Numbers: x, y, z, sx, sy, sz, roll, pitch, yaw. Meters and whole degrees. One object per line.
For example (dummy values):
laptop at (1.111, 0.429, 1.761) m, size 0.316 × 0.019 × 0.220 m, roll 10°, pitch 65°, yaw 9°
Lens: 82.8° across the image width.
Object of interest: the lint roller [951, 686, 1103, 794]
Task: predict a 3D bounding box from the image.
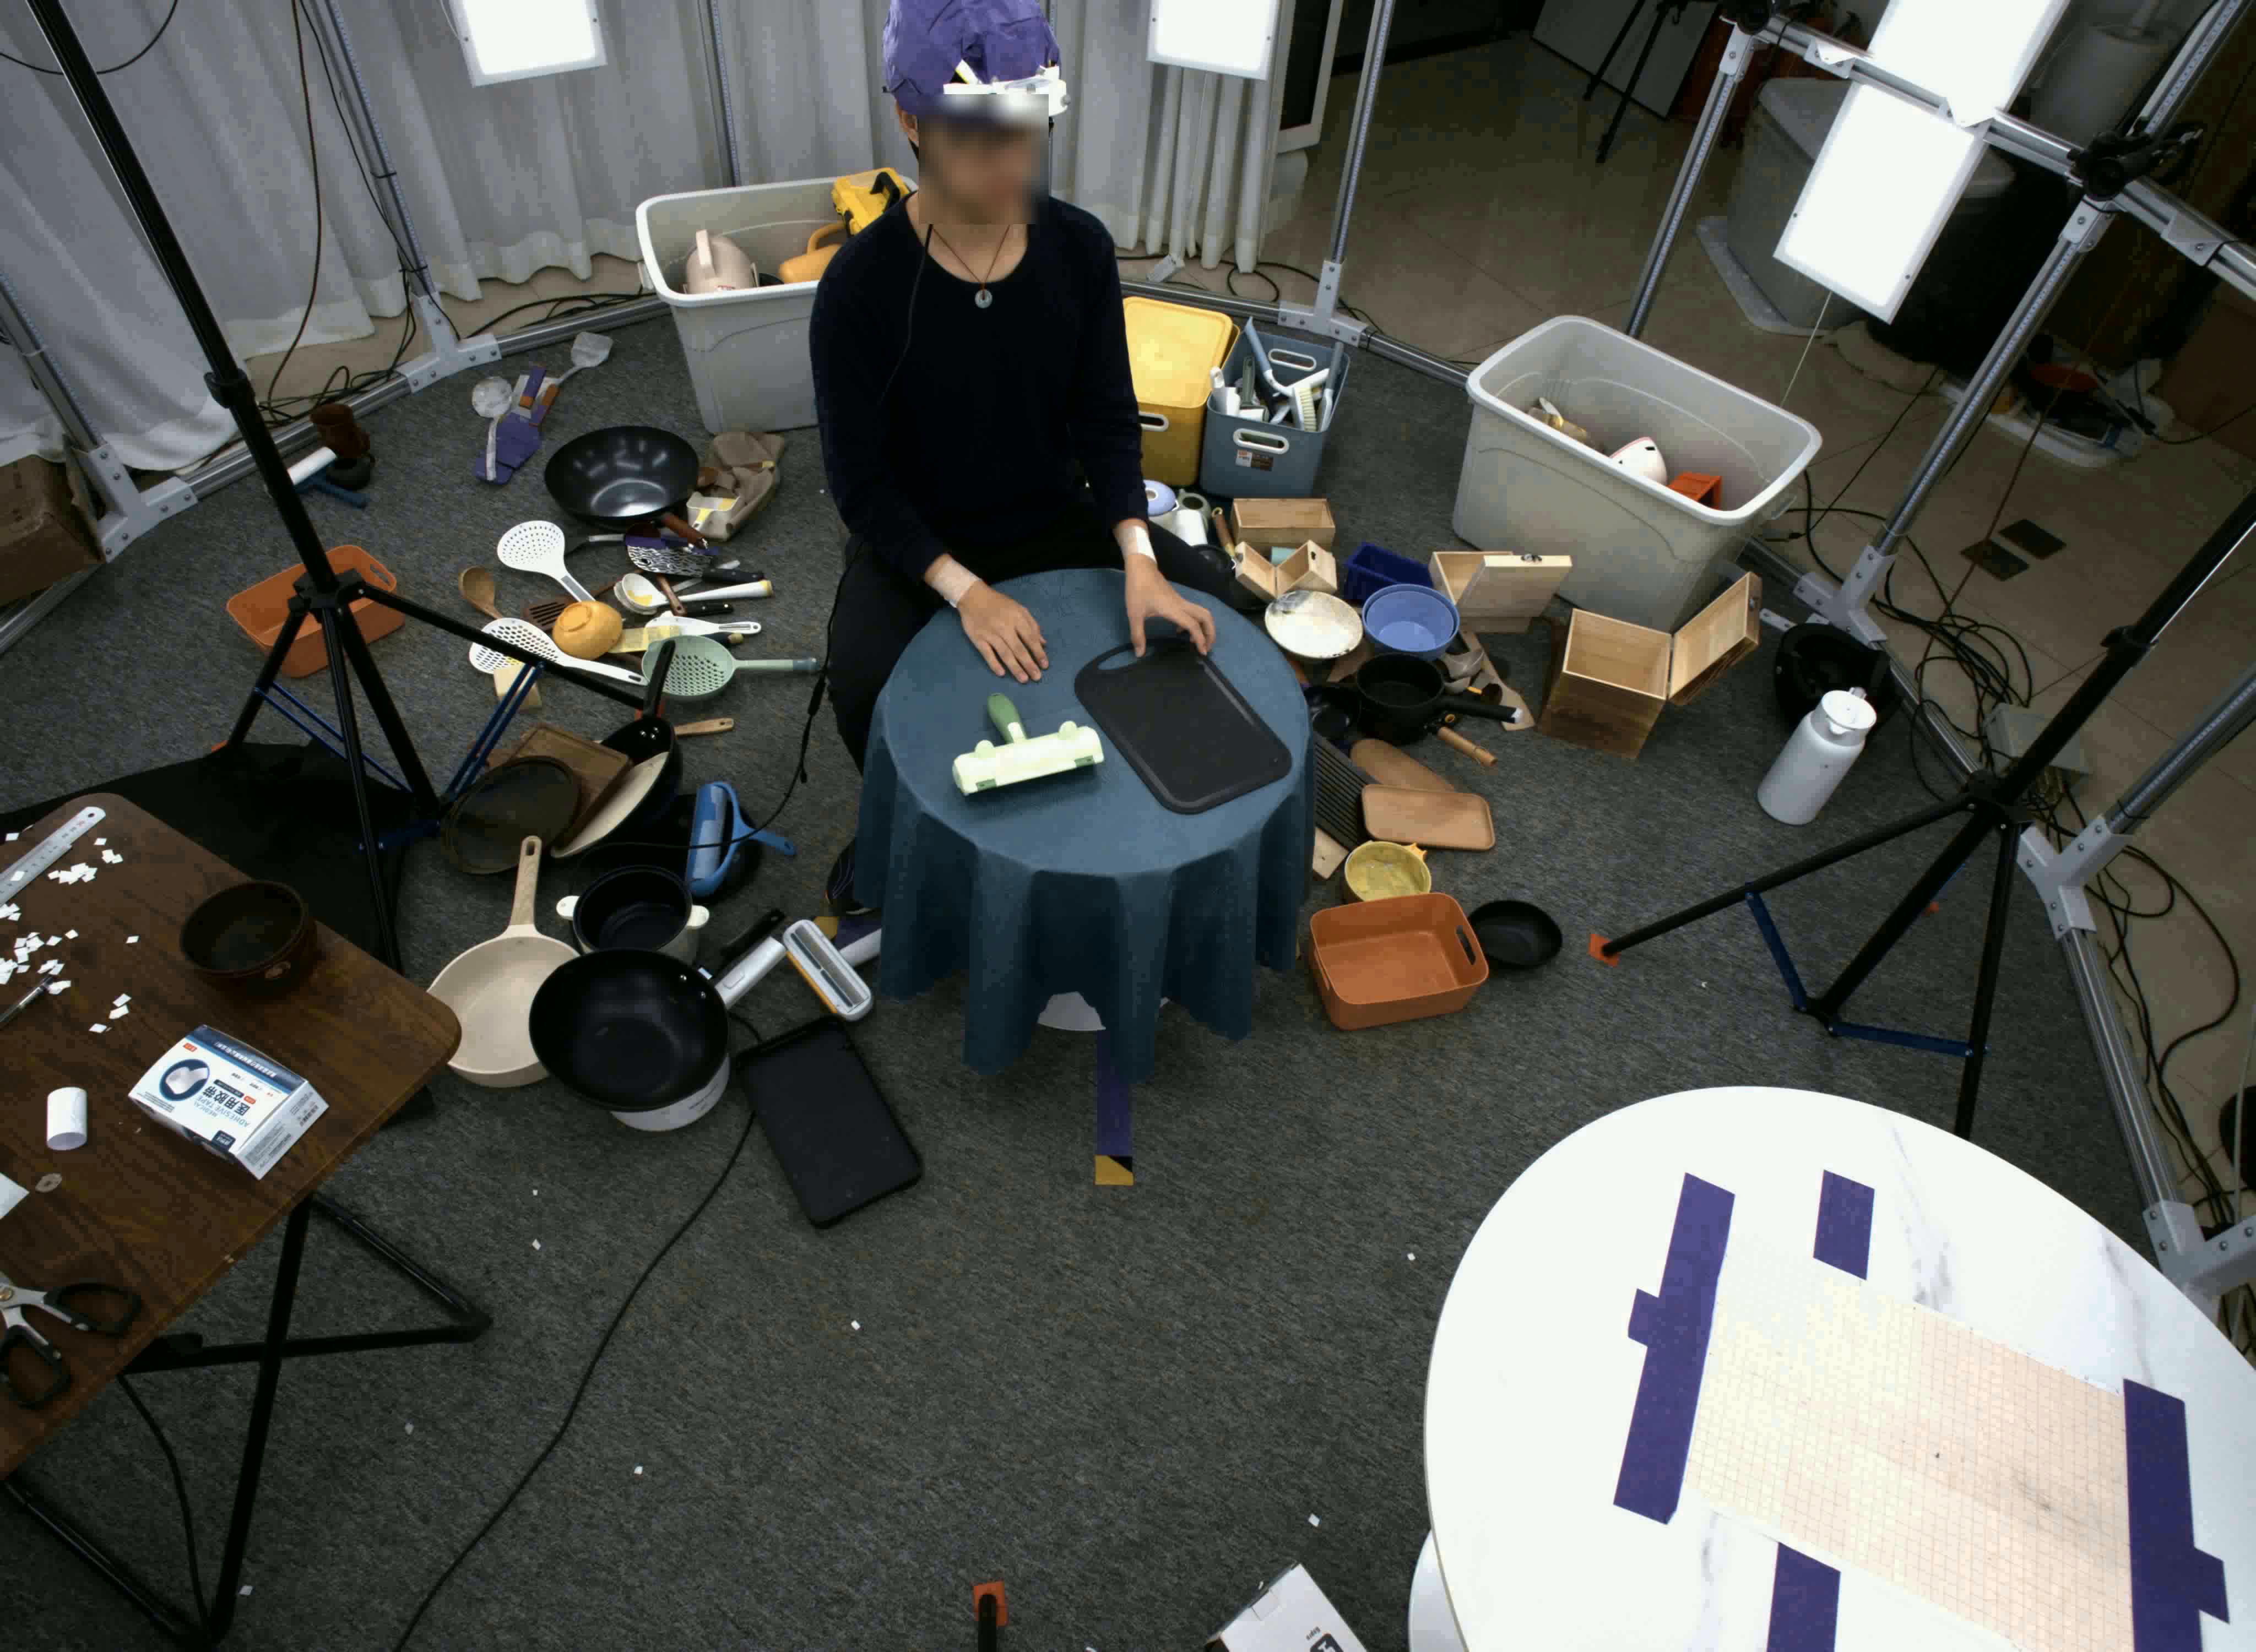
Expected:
lint roller at (-0.153, -0.136, 1.721) m, size 0.198 × 0.080 × 0.187 m, roll -14°, pitch 58°, yaw -17°

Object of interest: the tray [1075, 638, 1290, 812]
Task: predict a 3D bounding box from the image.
tray at (0.069, -0.154, 1.803) m, size 0.212 × 0.009 × 0.332 m, roll -22°, pitch 54°, yaw -21°
